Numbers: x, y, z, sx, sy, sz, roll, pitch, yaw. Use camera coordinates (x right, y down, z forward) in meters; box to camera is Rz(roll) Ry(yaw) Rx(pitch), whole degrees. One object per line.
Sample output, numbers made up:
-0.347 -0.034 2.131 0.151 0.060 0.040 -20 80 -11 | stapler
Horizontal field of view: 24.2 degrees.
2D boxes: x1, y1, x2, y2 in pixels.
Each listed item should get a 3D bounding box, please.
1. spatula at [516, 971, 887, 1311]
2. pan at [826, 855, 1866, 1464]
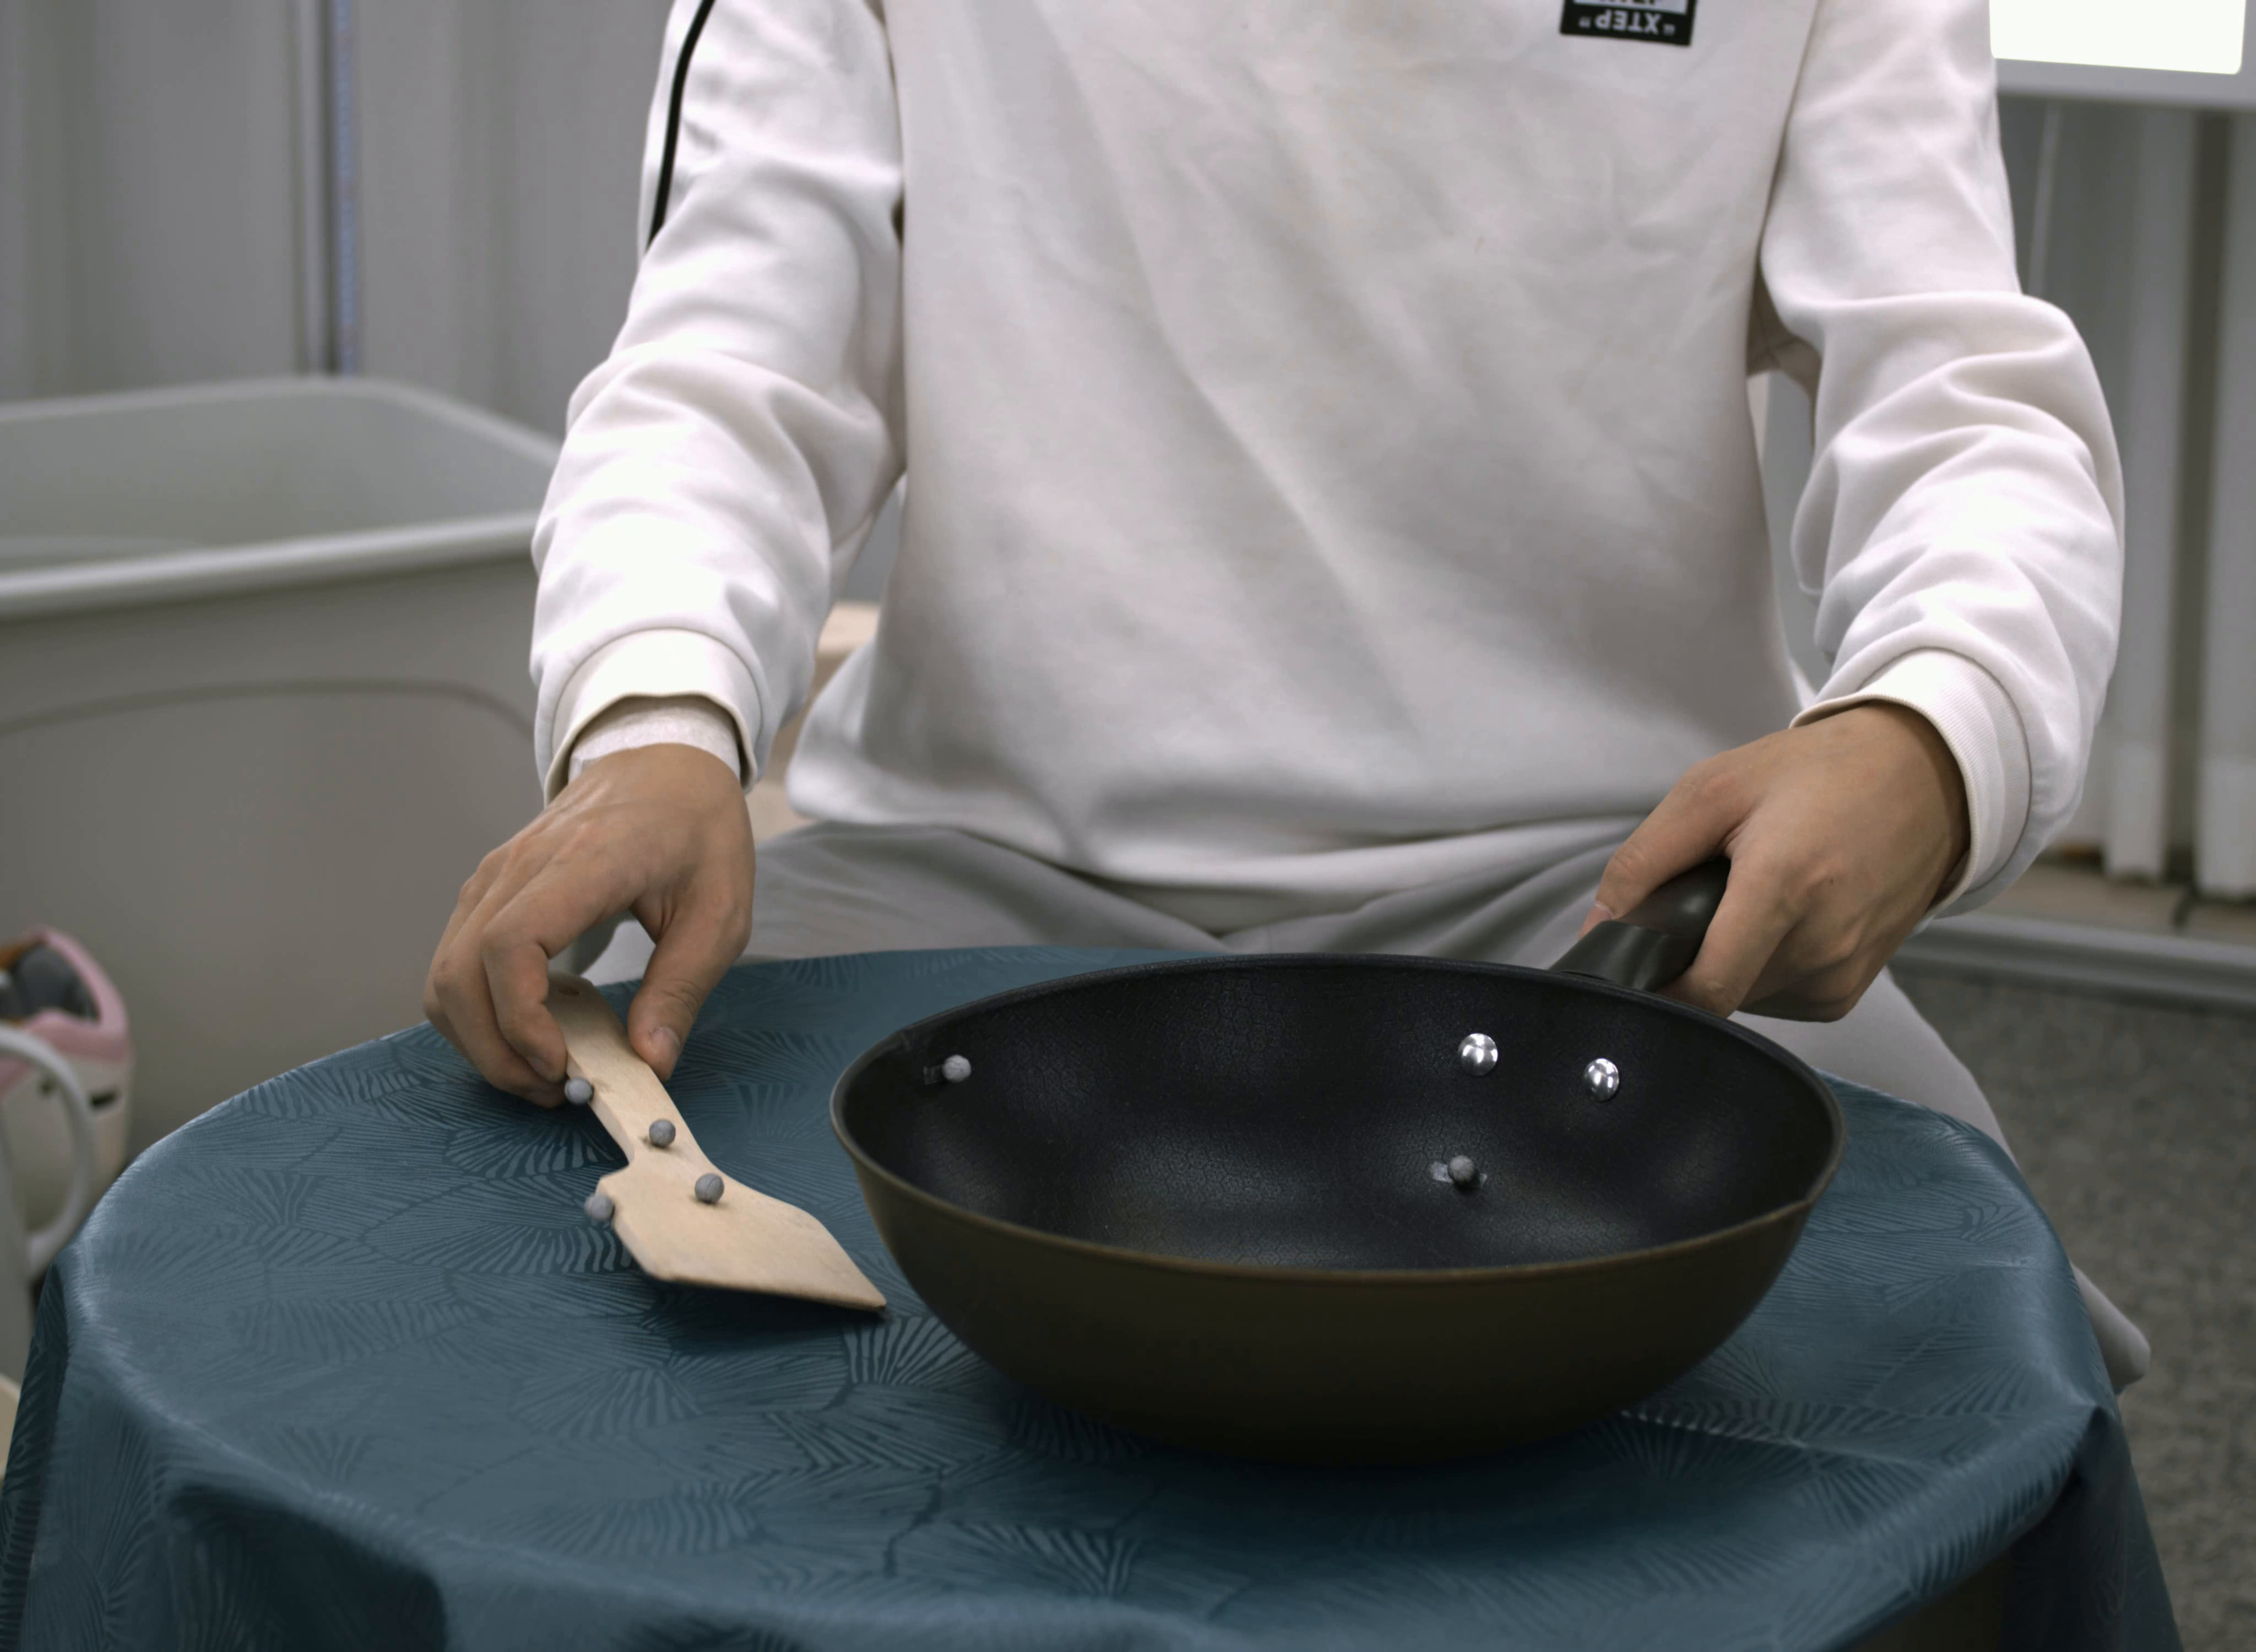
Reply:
-0.148 0.094 1.634 0.072 0.011 0.289 8 15 -22 | spatula
0.104 0.093 1.545 0.285 0.087 0.465 10 17 29 | pan
